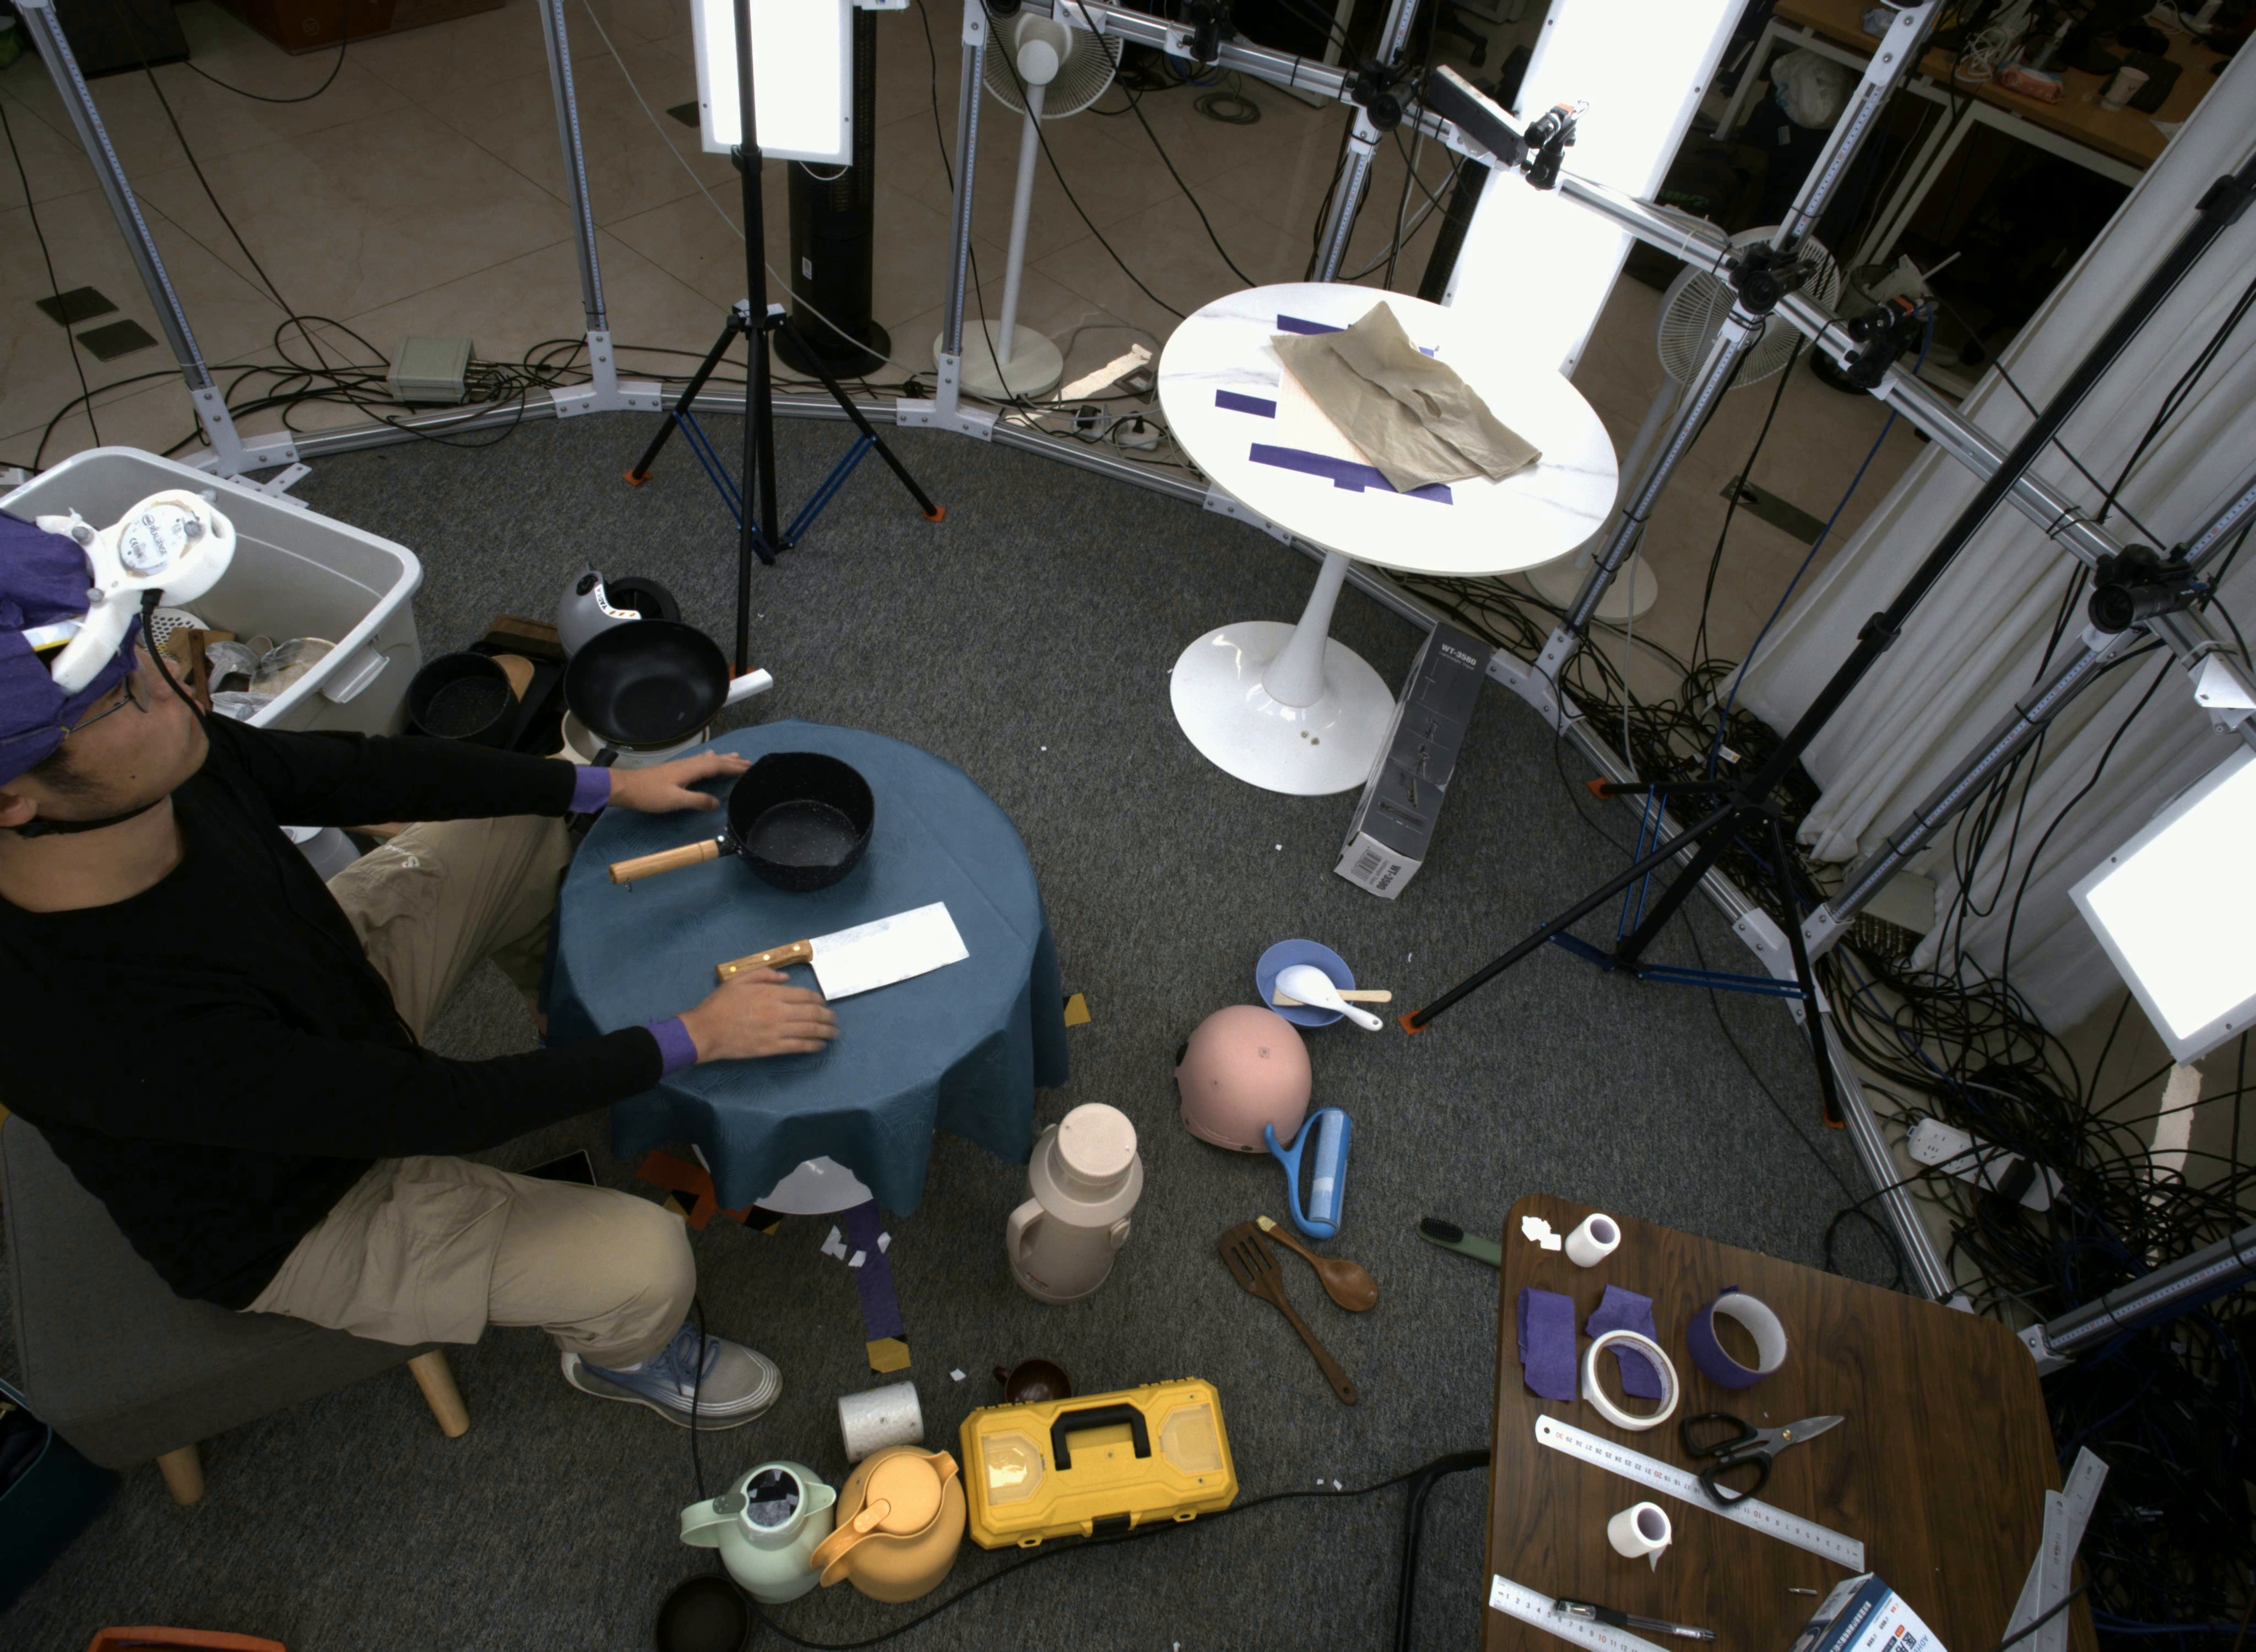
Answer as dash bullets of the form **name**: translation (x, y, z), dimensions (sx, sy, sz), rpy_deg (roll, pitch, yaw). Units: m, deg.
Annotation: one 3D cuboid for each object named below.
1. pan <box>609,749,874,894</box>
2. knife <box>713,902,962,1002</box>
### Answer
- **pan**: translation (-0.481, 0.023, 1.620), dimensions (0.344, 0.110, 0.202), rpy_deg (-26, 63, -30)
- **knife**: translation (-0.352, 0.166, 1.606), dimensions (0.308, 0.021, 0.090), rpy_deg (-16, 60, -28)
